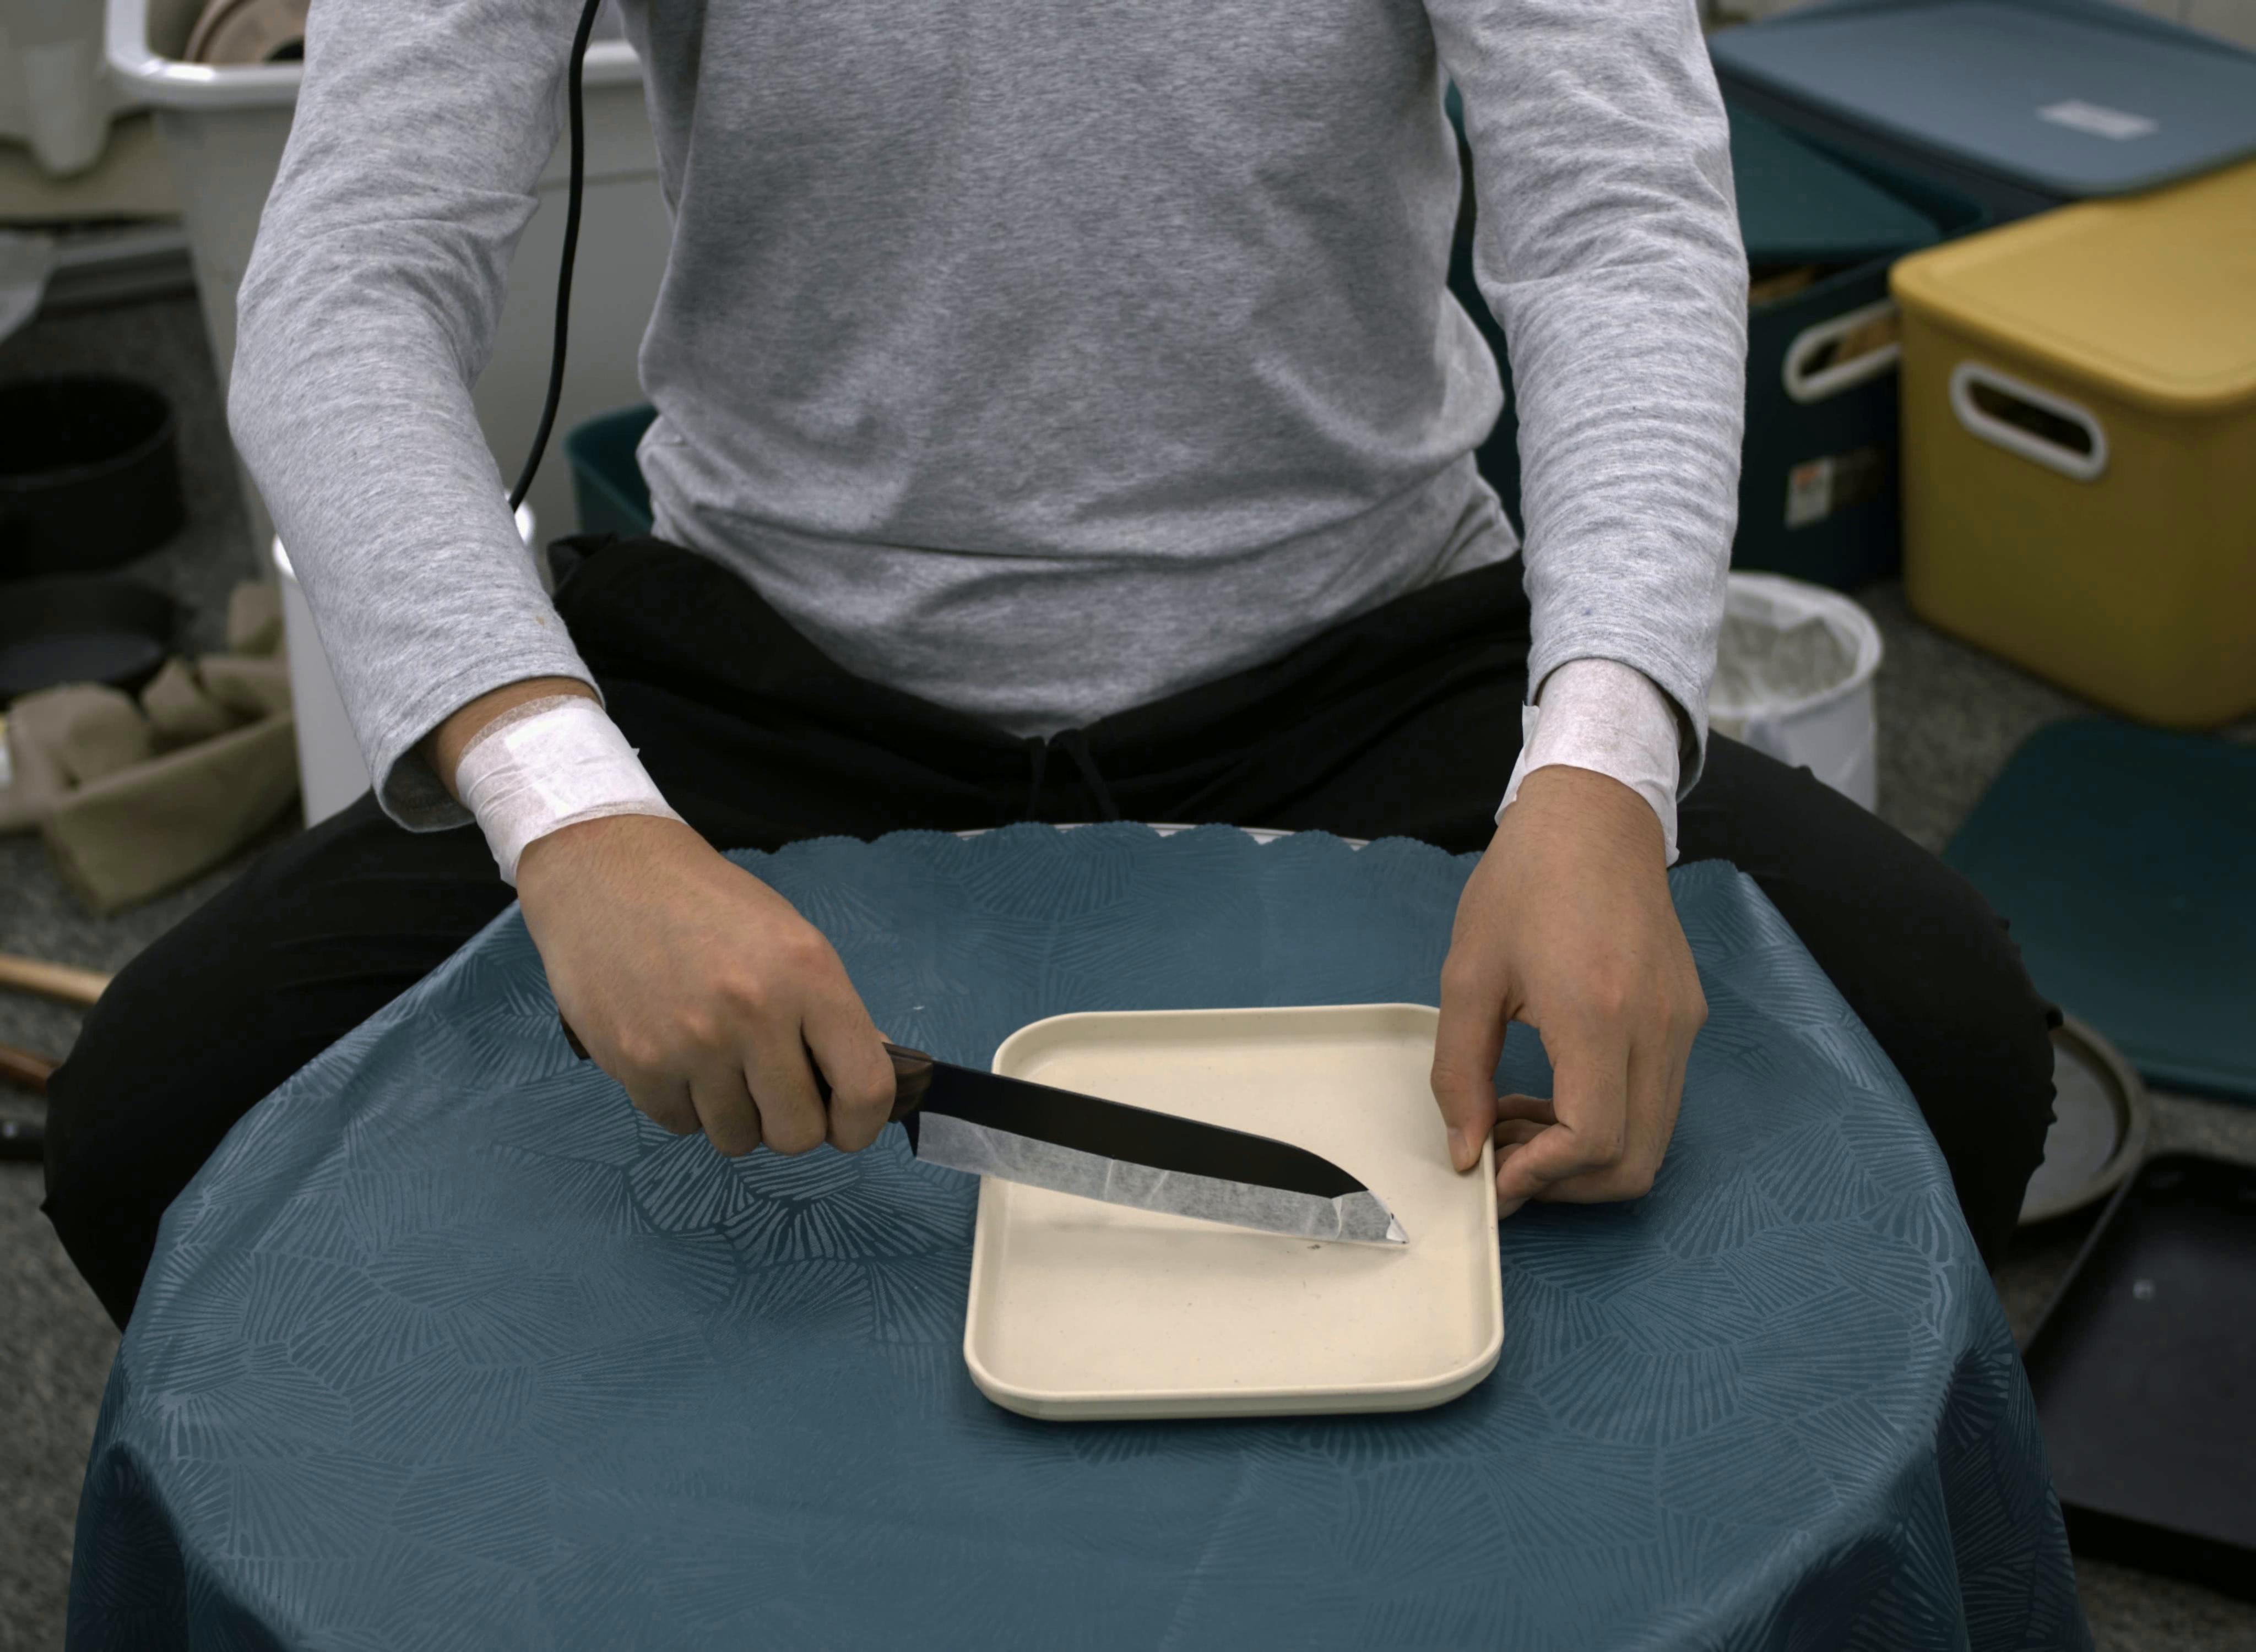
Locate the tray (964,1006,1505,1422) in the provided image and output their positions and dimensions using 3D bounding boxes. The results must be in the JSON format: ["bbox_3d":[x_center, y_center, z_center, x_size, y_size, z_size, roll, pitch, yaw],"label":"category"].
[{"bbox_3d":[0.036,0.126,1.832,0.170,0.017,0.243,-1,27,3],"label":"tray"}]

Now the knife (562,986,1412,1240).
[{"bbox_3d":[-0.047,0.095,1.829,0.288,0.049,0.020,14,40,7],"label":"knife"}]
